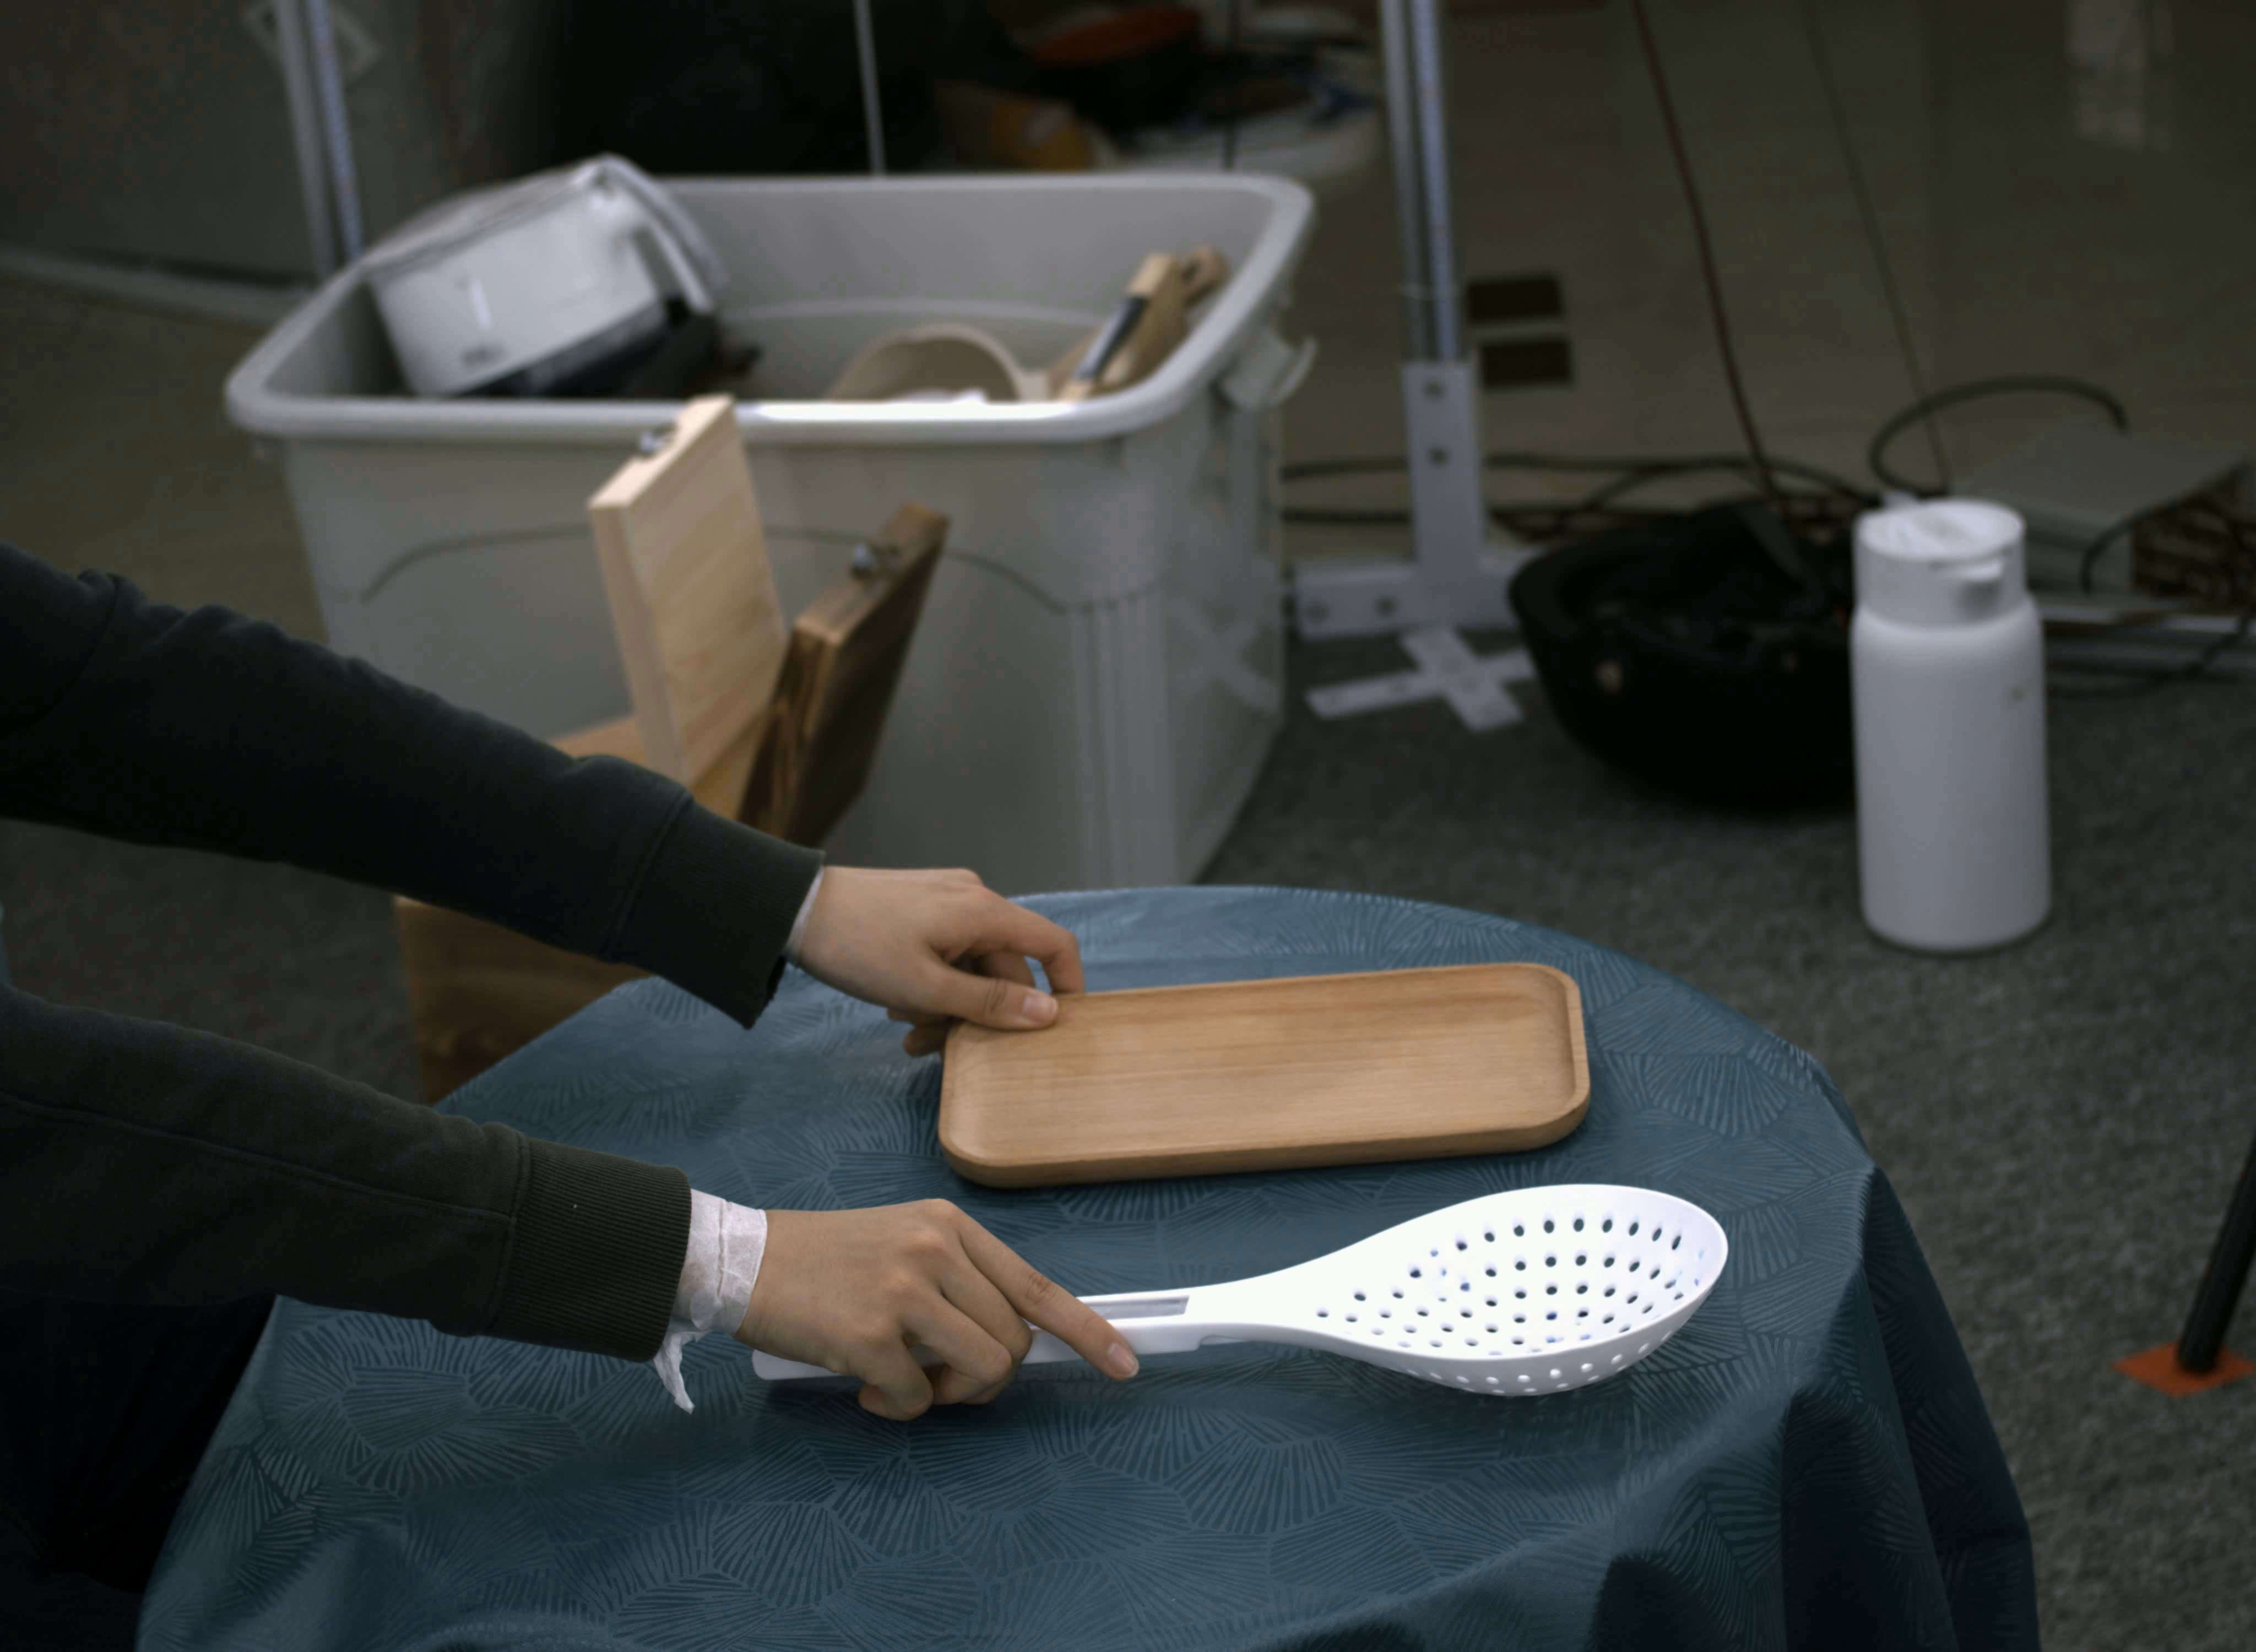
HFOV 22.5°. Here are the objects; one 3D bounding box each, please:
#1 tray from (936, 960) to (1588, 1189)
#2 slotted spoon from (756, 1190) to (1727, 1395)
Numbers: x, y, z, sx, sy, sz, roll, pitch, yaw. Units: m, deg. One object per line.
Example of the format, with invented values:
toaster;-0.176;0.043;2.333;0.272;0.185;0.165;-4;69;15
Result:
tray;0.052;0.097;2.199;0.250;0.023;0.128;-5;27;4
slotted spoon;0.038;0.173;2.011;0.349;0.046;0.134;-1;20;10
